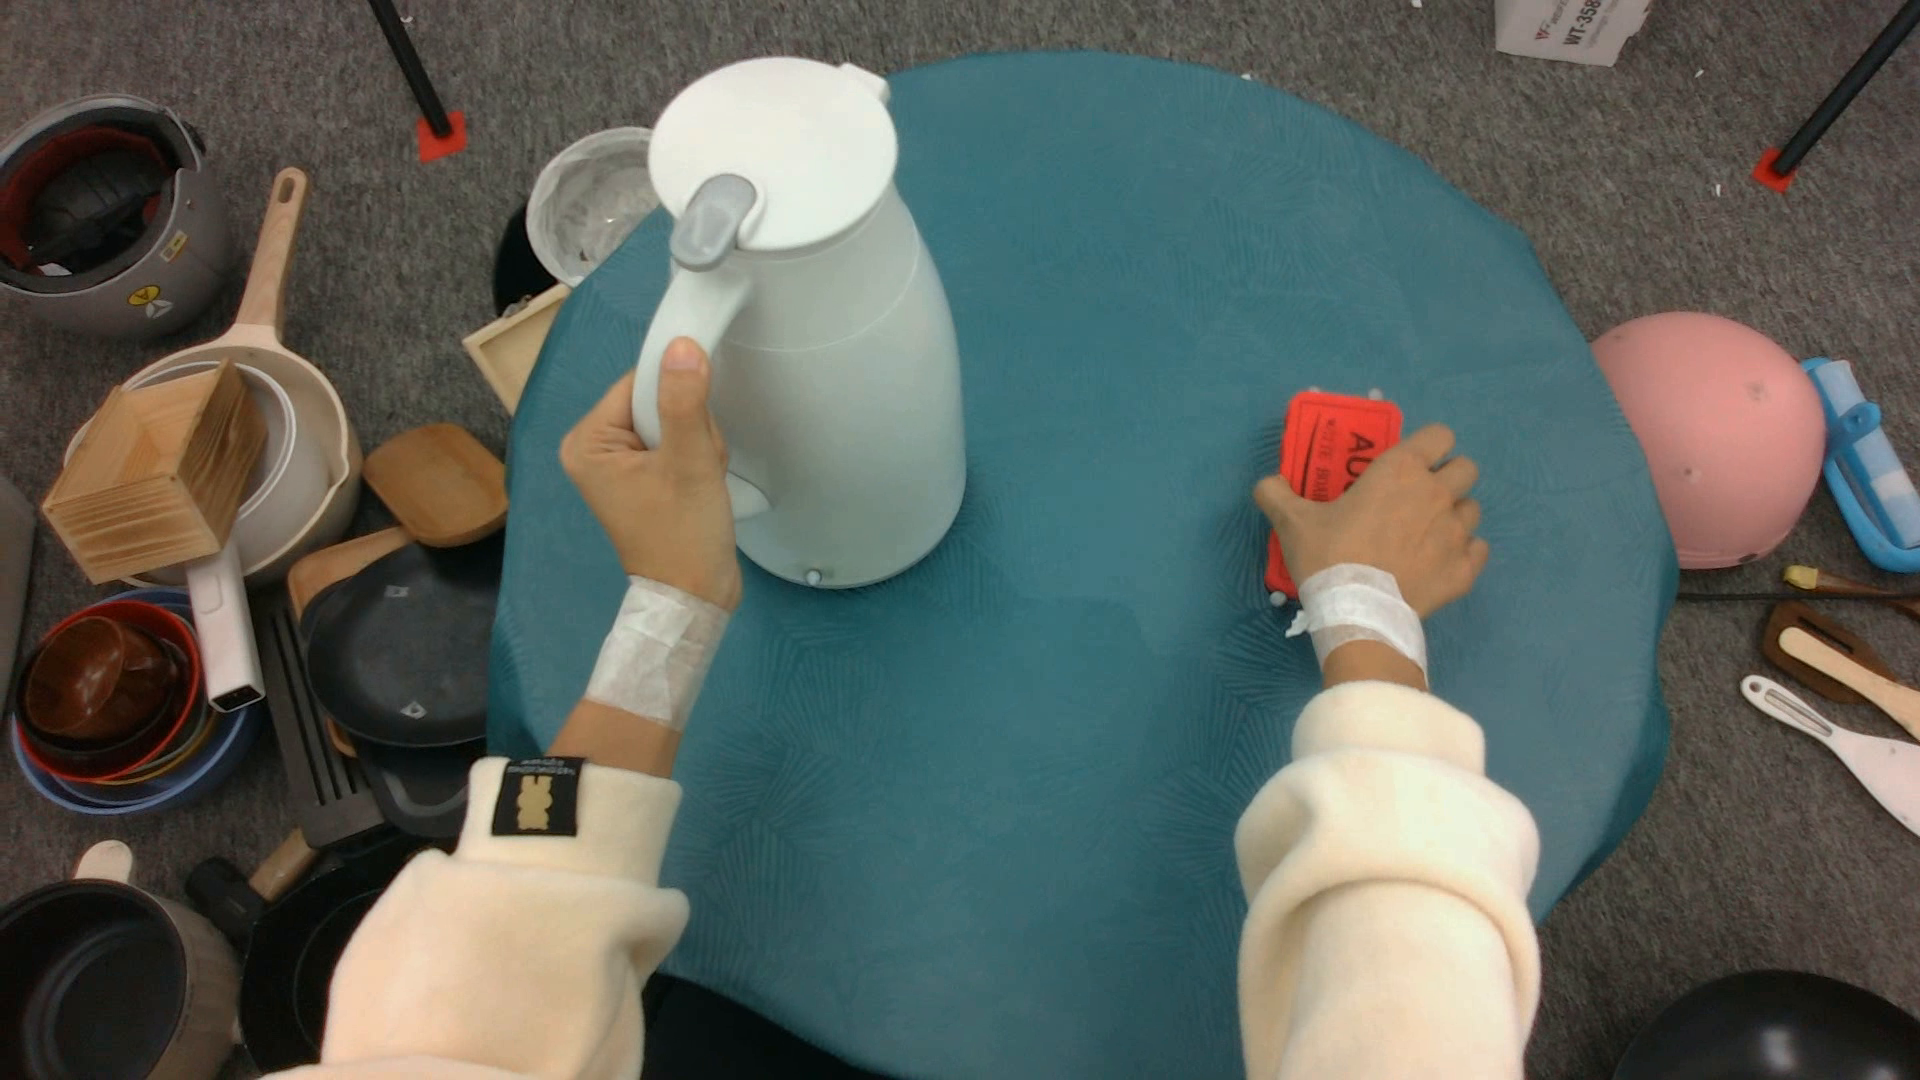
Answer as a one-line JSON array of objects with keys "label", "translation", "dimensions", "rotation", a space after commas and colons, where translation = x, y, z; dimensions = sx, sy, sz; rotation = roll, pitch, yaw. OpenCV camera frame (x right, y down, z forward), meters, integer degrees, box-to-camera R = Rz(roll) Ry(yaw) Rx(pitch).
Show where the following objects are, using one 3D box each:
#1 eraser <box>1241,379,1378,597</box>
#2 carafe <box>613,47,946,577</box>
[{"label": "eraser", "translation": [0.180, -0.027, 0.708], "dimensions": [0.059, 0.023, 0.108], "rotation": [8, 74, 9]}, {"label": "carafe", "translation": [-0.083, -0.080, 0.601], "dimensions": [0.132, 0.247, 0.168], "rotation": [27, 66, 13]}]
